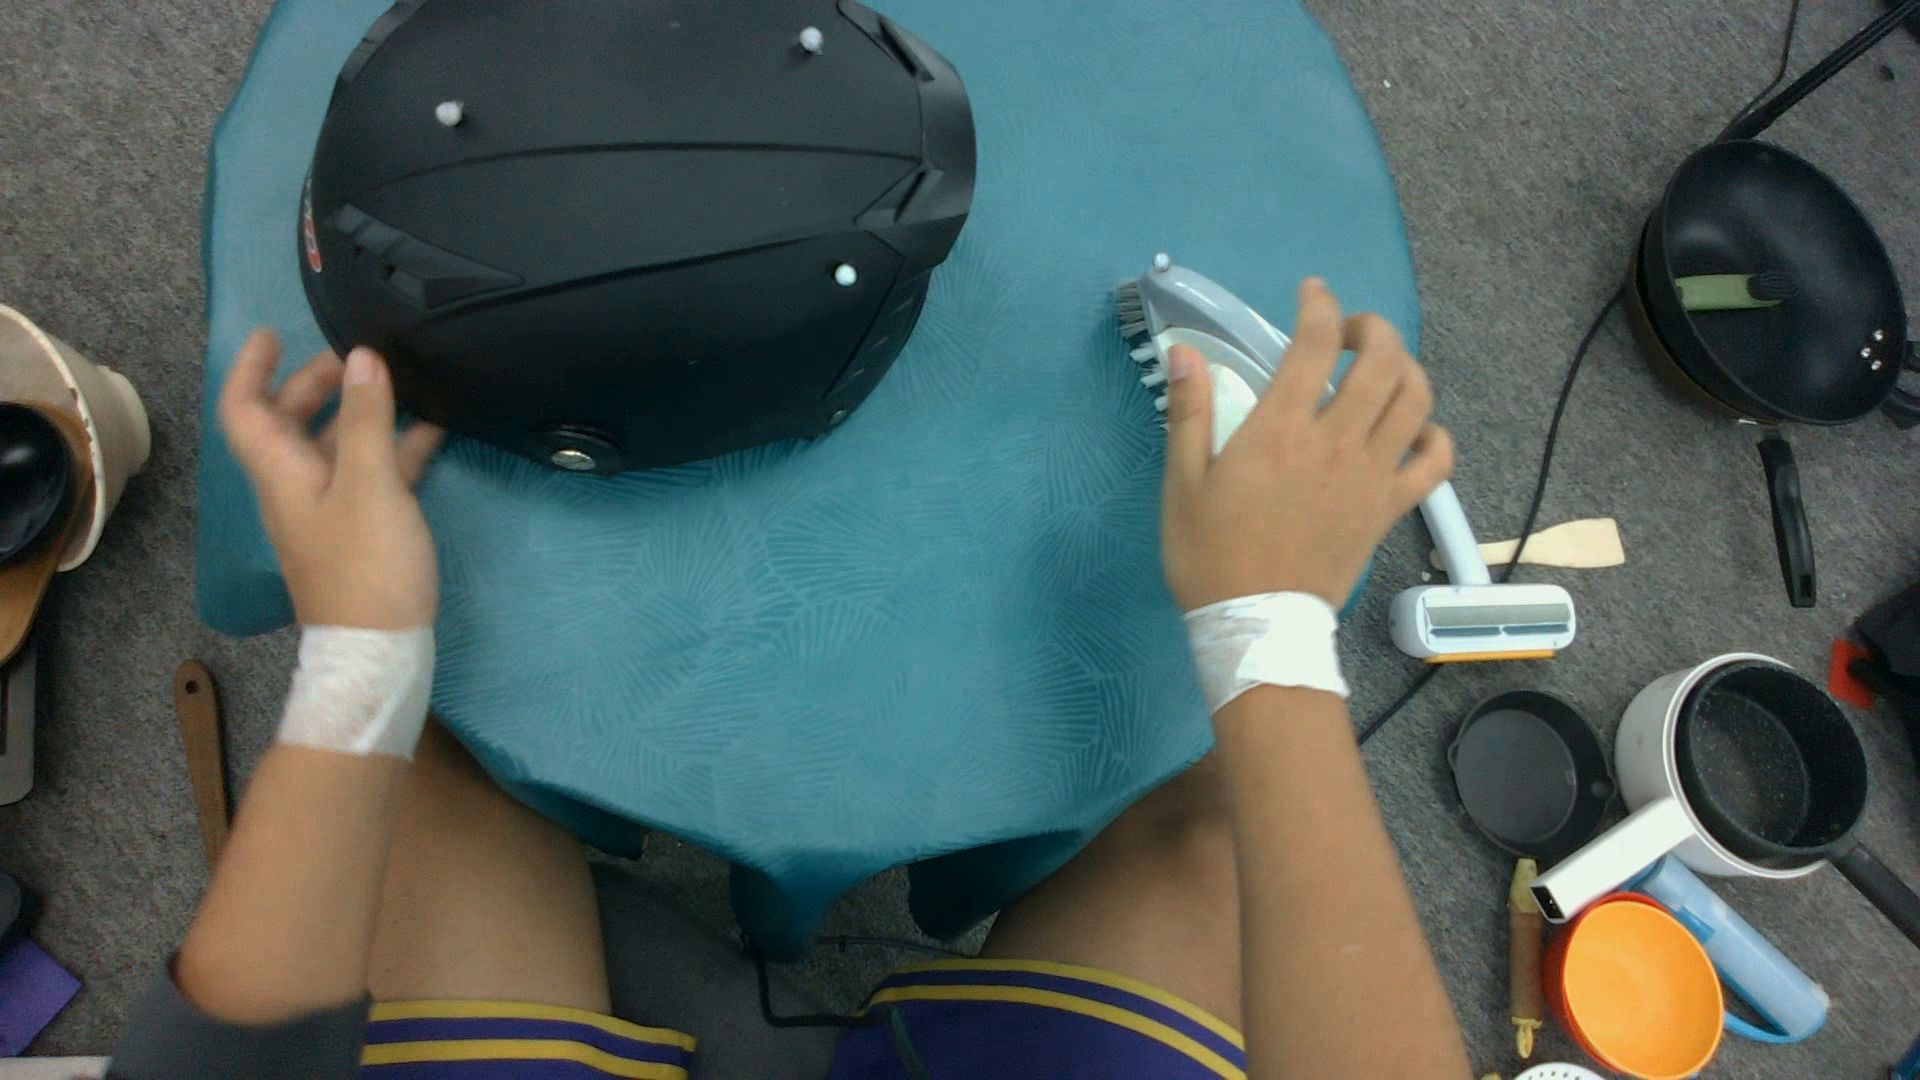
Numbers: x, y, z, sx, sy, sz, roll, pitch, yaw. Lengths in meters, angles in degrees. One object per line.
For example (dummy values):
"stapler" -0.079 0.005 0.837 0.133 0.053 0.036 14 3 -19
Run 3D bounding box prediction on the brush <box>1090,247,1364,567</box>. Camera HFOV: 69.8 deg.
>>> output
"brush" 0.128 -0.077 0.661 0.061 0.094 0.175 -33 83 -20

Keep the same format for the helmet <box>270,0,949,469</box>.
"helmet" -0.148 -0.161 0.583 0.277 0.172 0.247 0 74 -17
